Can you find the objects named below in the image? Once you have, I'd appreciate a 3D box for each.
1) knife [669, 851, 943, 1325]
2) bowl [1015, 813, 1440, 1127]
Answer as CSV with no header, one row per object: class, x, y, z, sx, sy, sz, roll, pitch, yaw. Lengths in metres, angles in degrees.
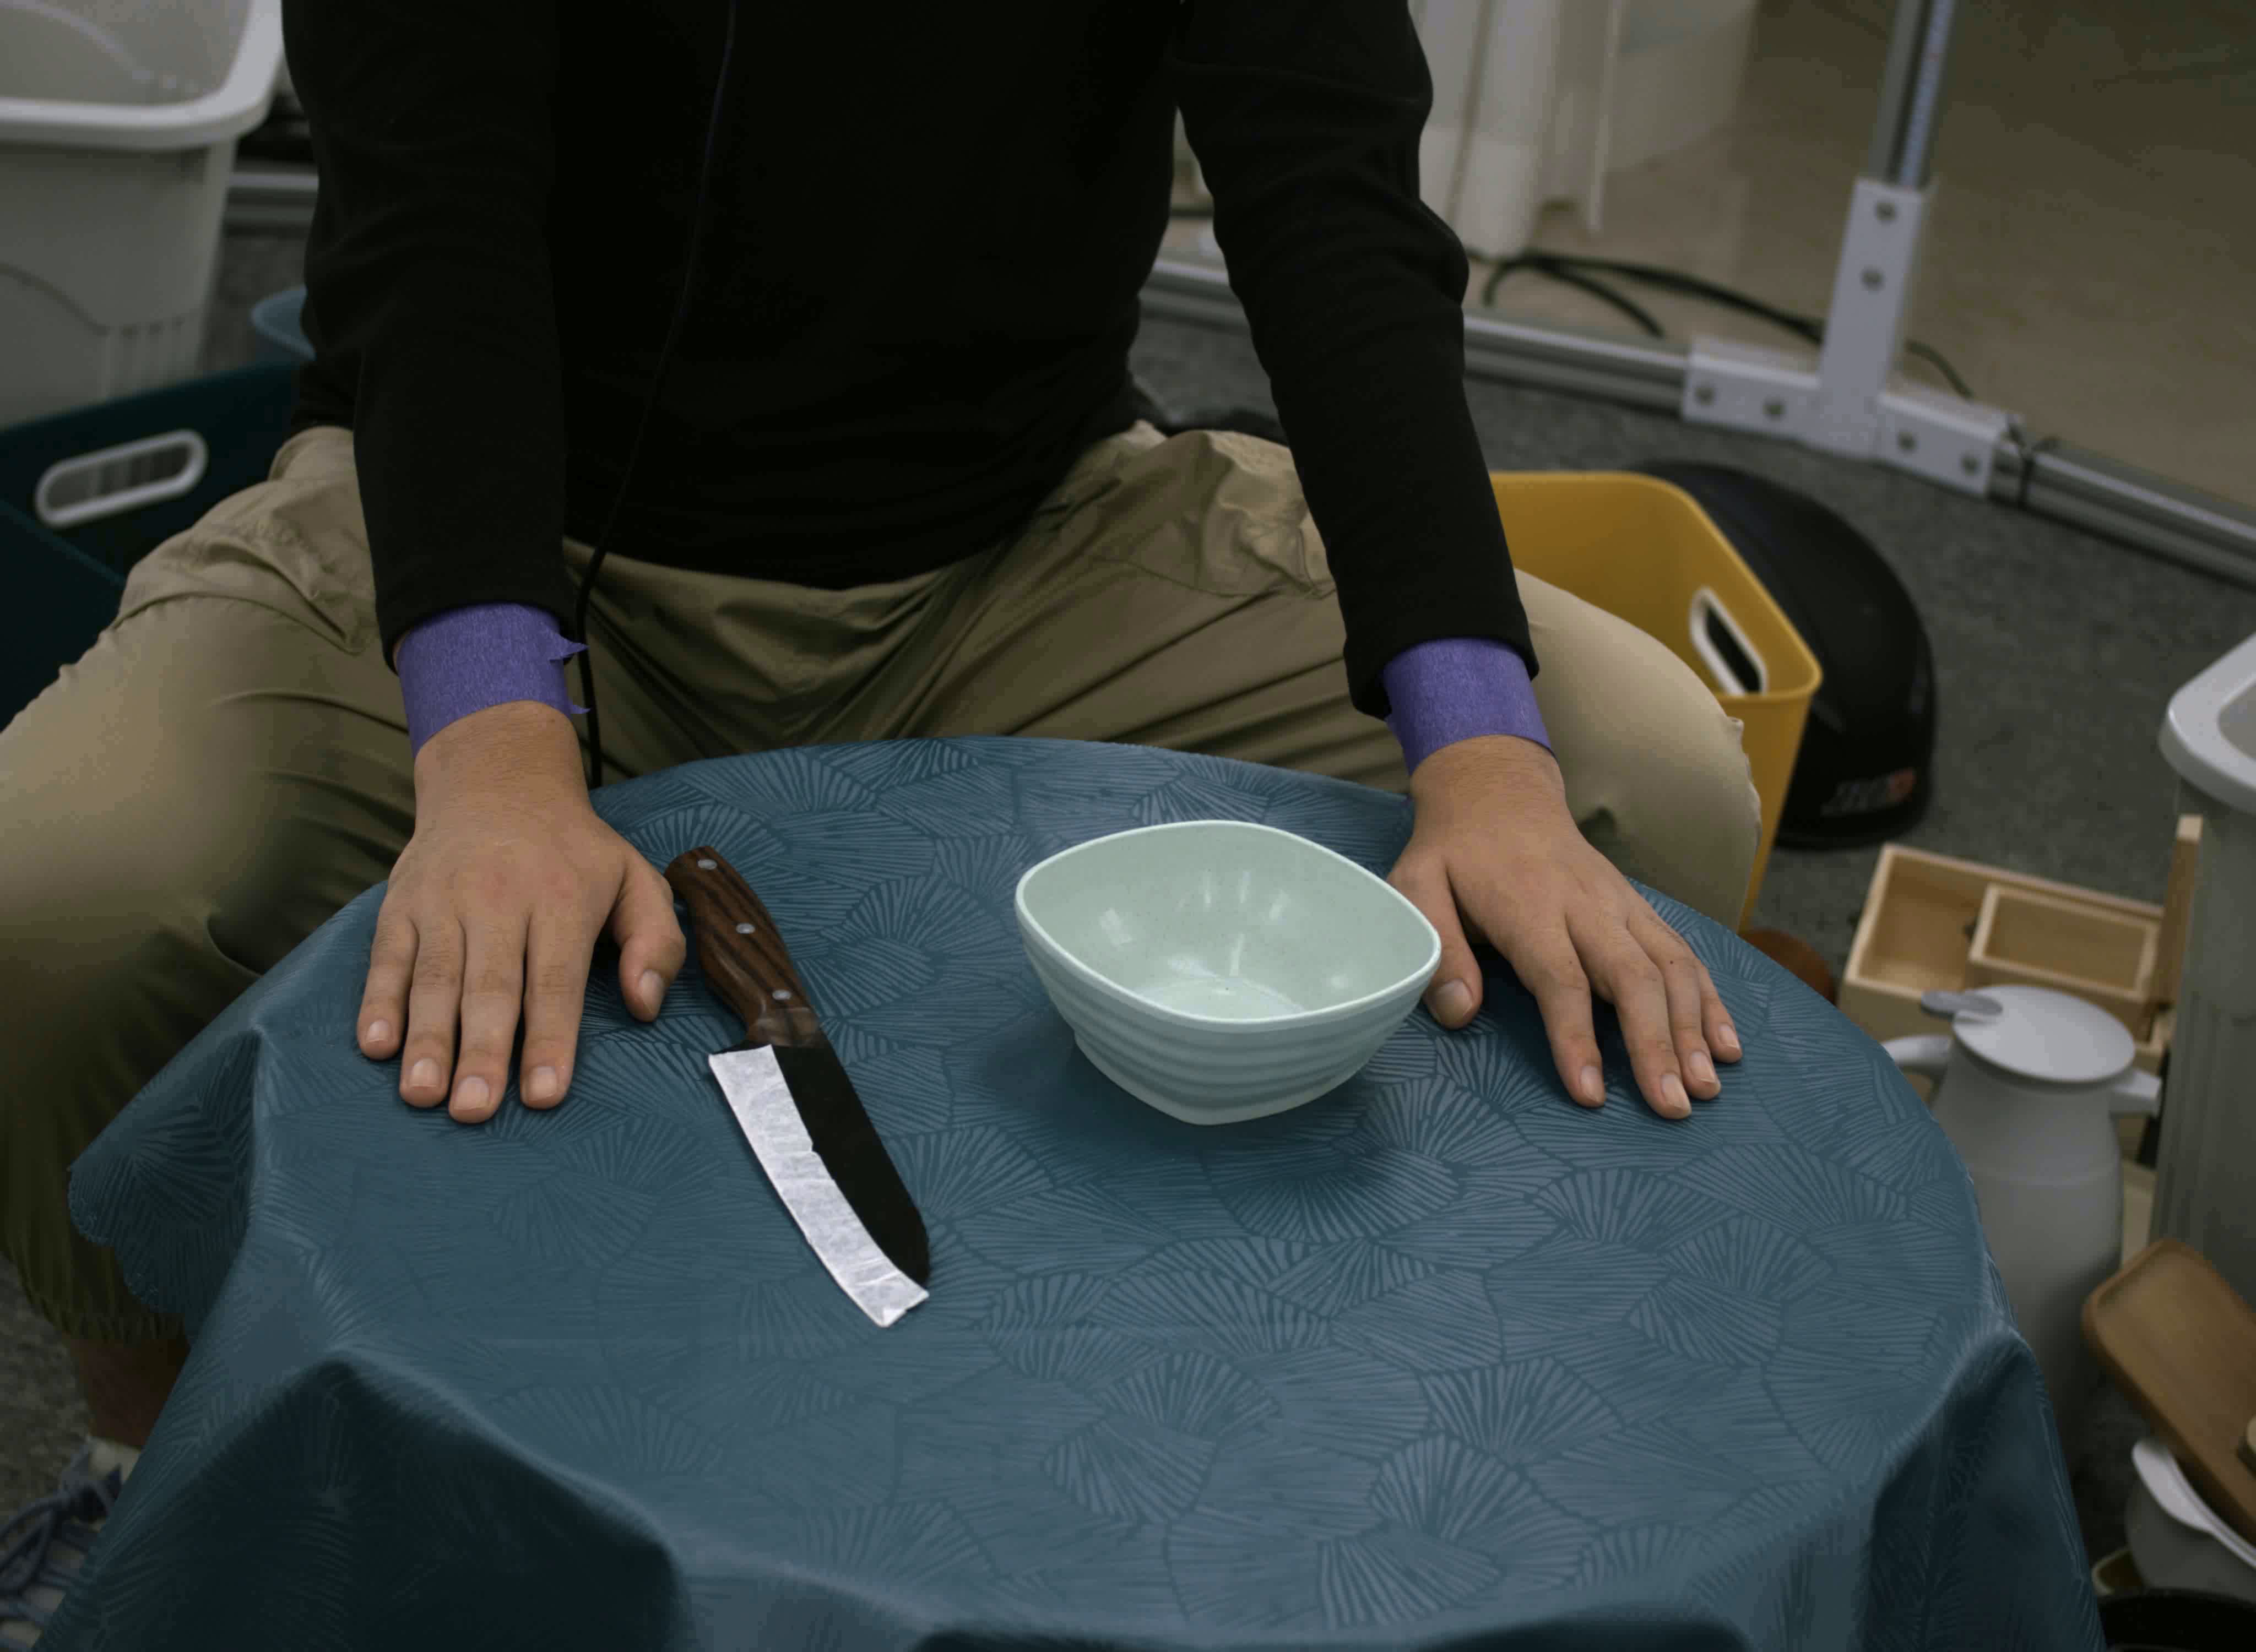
knife,-0.115,0.088,1.833,0.050,0.020,0.292,-7,32,-15
bowl,0.032,0.057,1.881,0.151,0.058,0.152,6,29,-4
